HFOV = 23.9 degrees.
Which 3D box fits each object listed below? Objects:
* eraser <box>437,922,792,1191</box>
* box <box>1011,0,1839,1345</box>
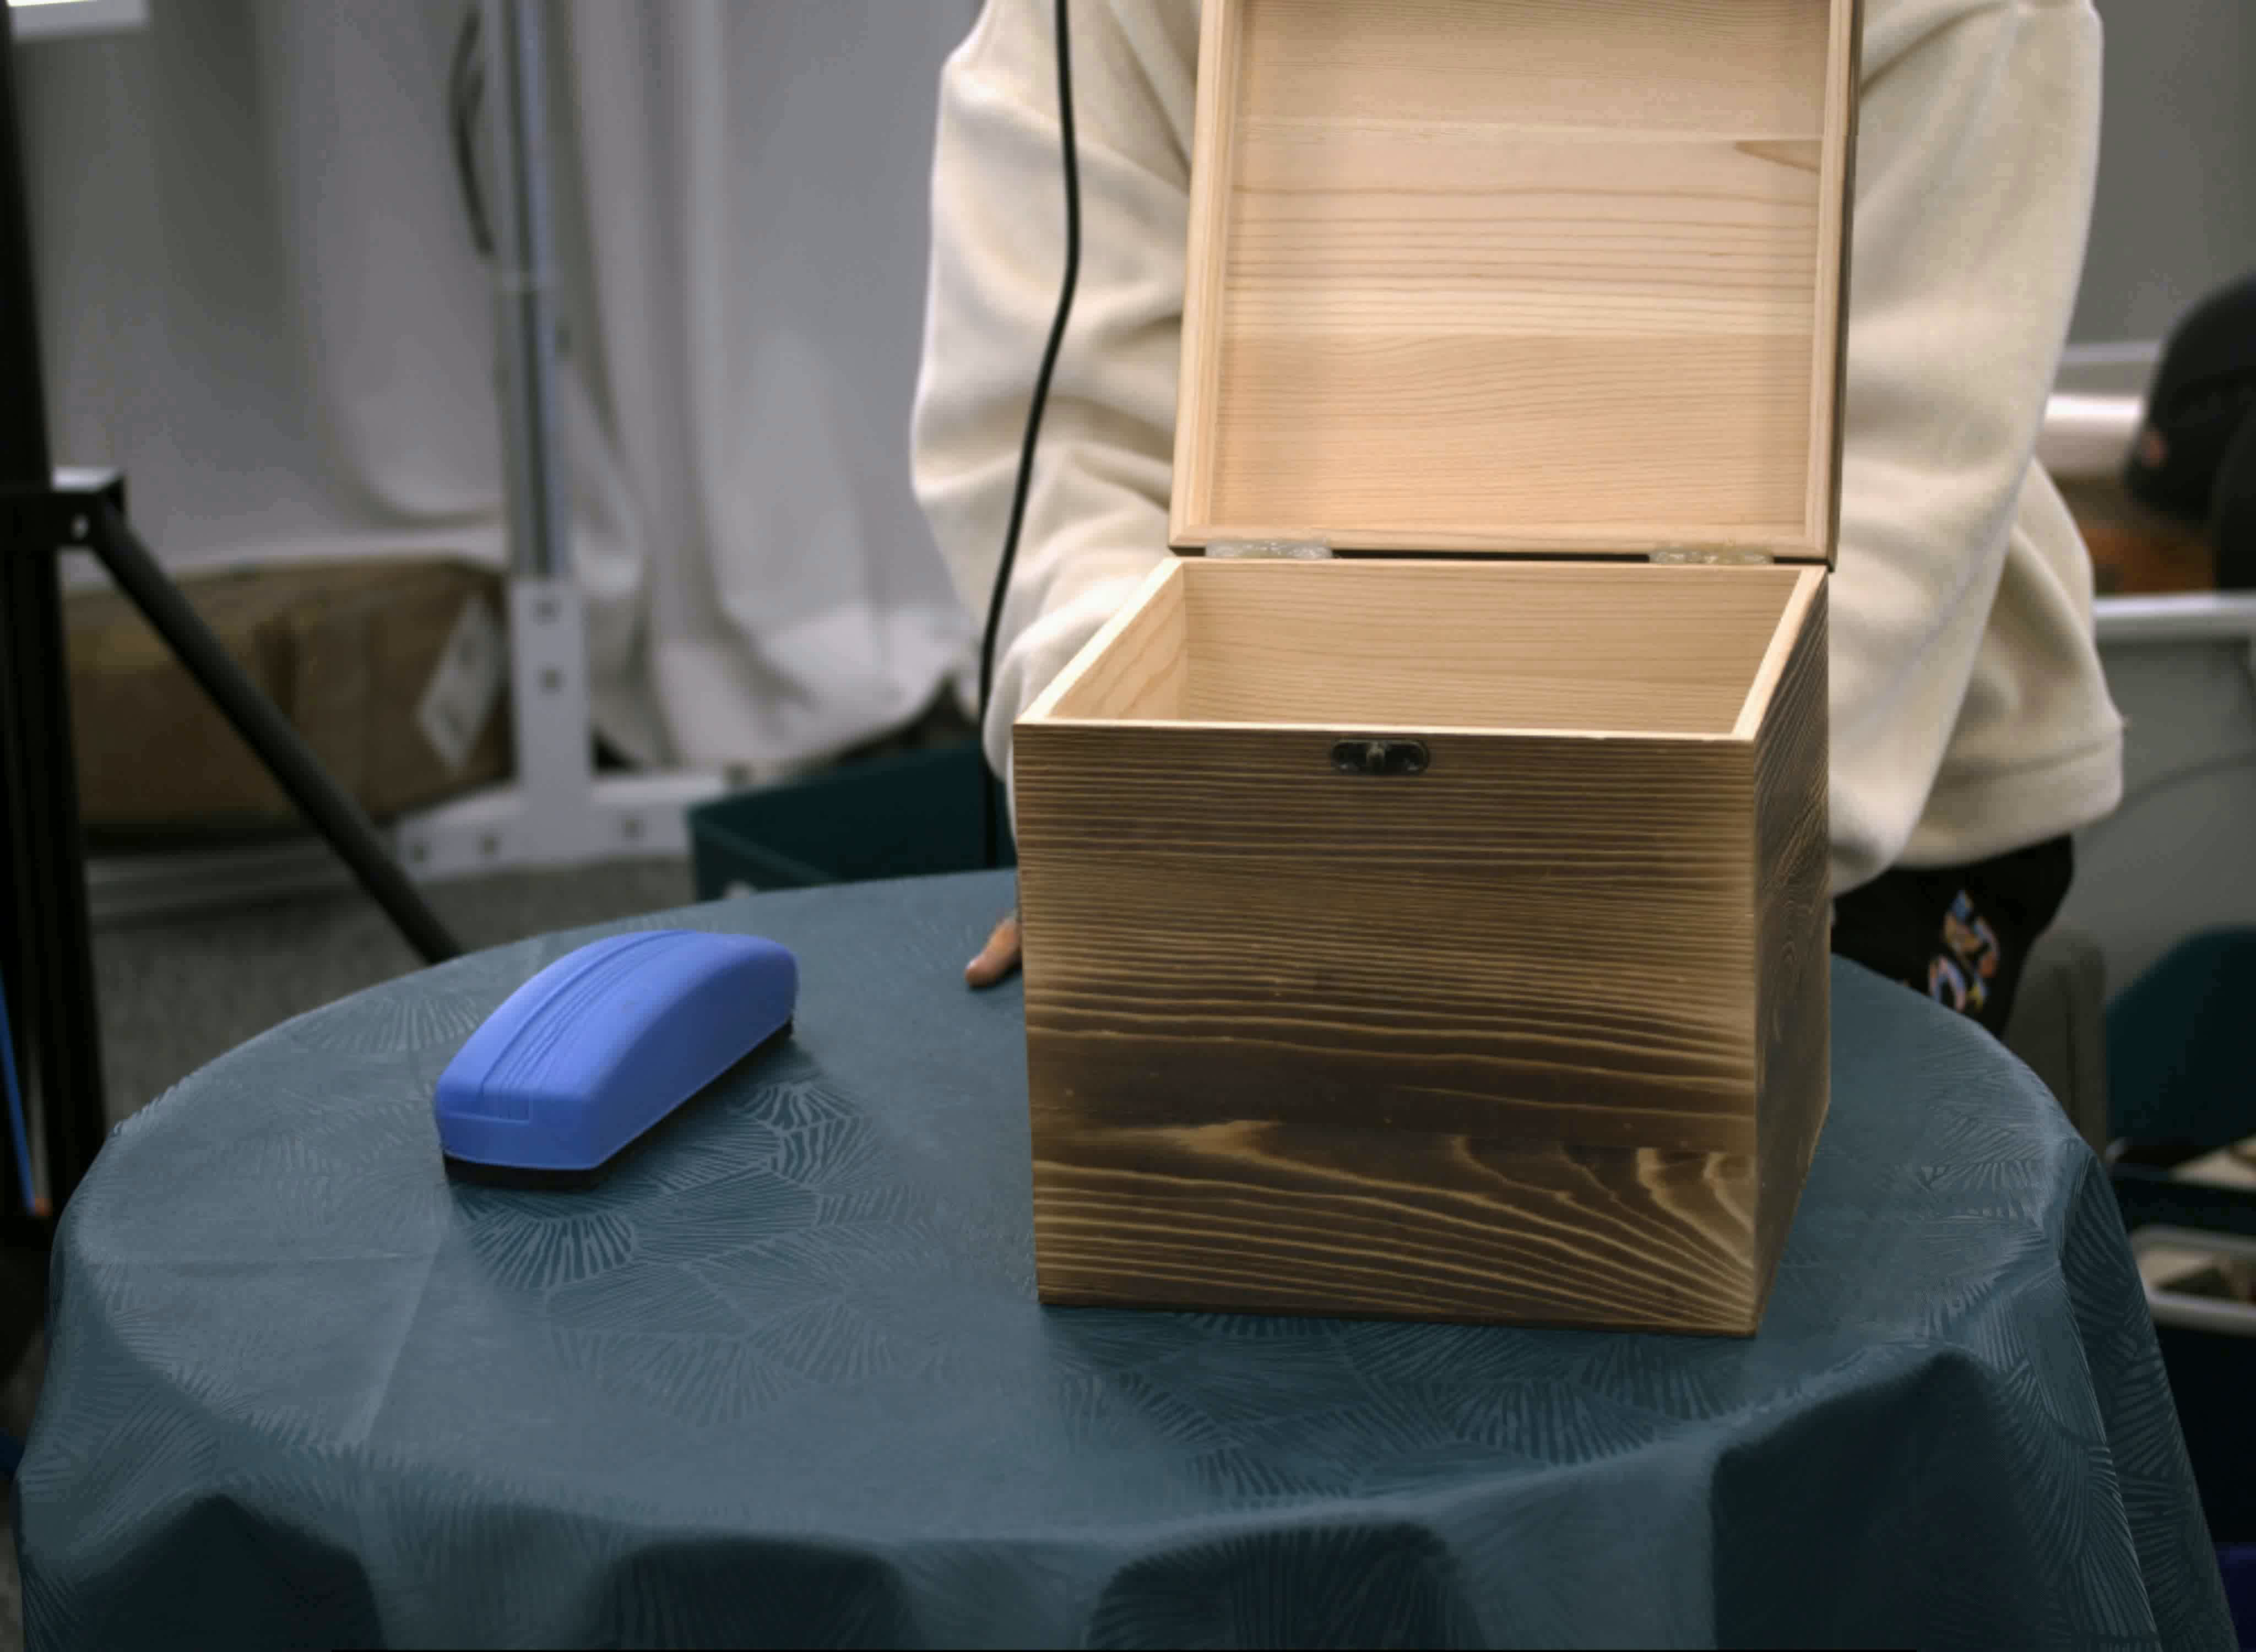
[{"bbox_3d":[-0.157,0.065,1.650,0.054,0.047,0.160,3,17,20],"label":"eraser"},{"bbox_3d":[0.097,-0.076,1.541,0.210,0.375,0.320,1,14,14],"label":"box"}]
